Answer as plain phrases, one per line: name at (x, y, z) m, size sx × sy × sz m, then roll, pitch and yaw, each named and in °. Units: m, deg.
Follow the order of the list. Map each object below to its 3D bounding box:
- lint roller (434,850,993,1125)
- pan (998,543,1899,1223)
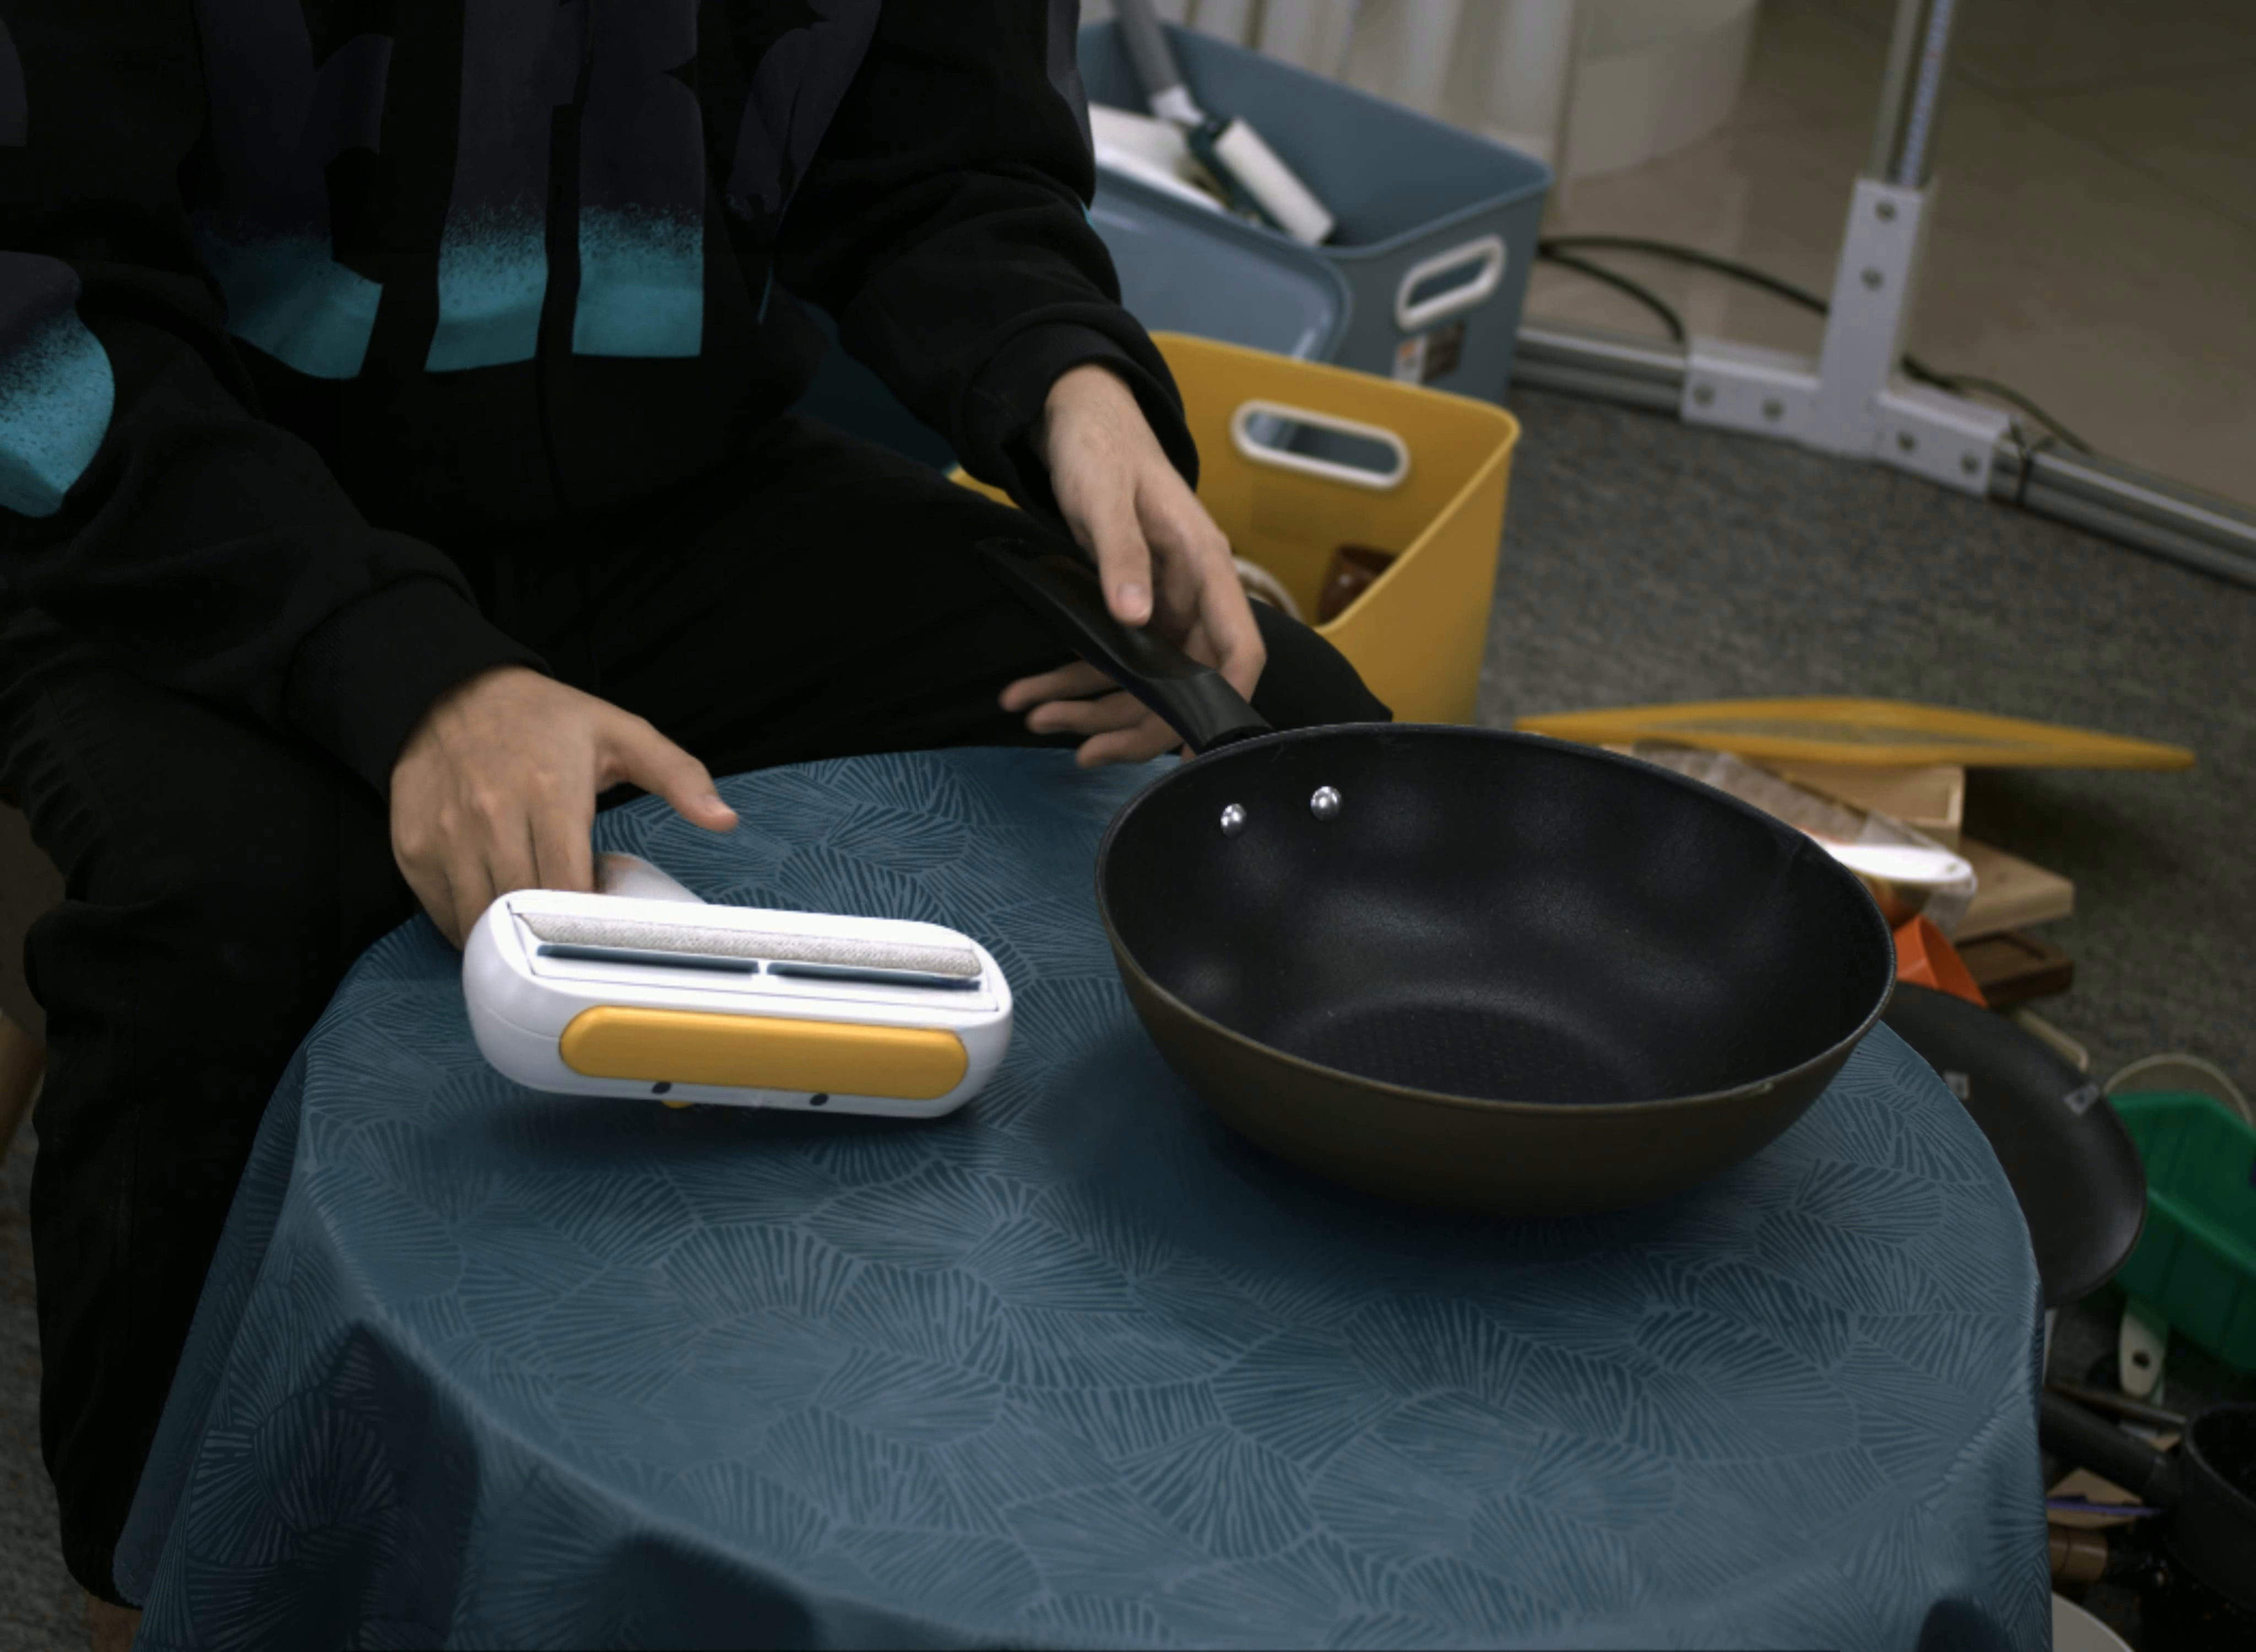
lint roller at (-0.157, 0.041, 1.851) m, size 0.191 × 0.074 × 0.194 m, roll 3°, pitch 25°, yaw -19°
pan at (0.073, 0.023, 1.921) m, size 0.286 × 0.086 × 0.467 m, roll -12°, pitch 32°, yaw -32°
